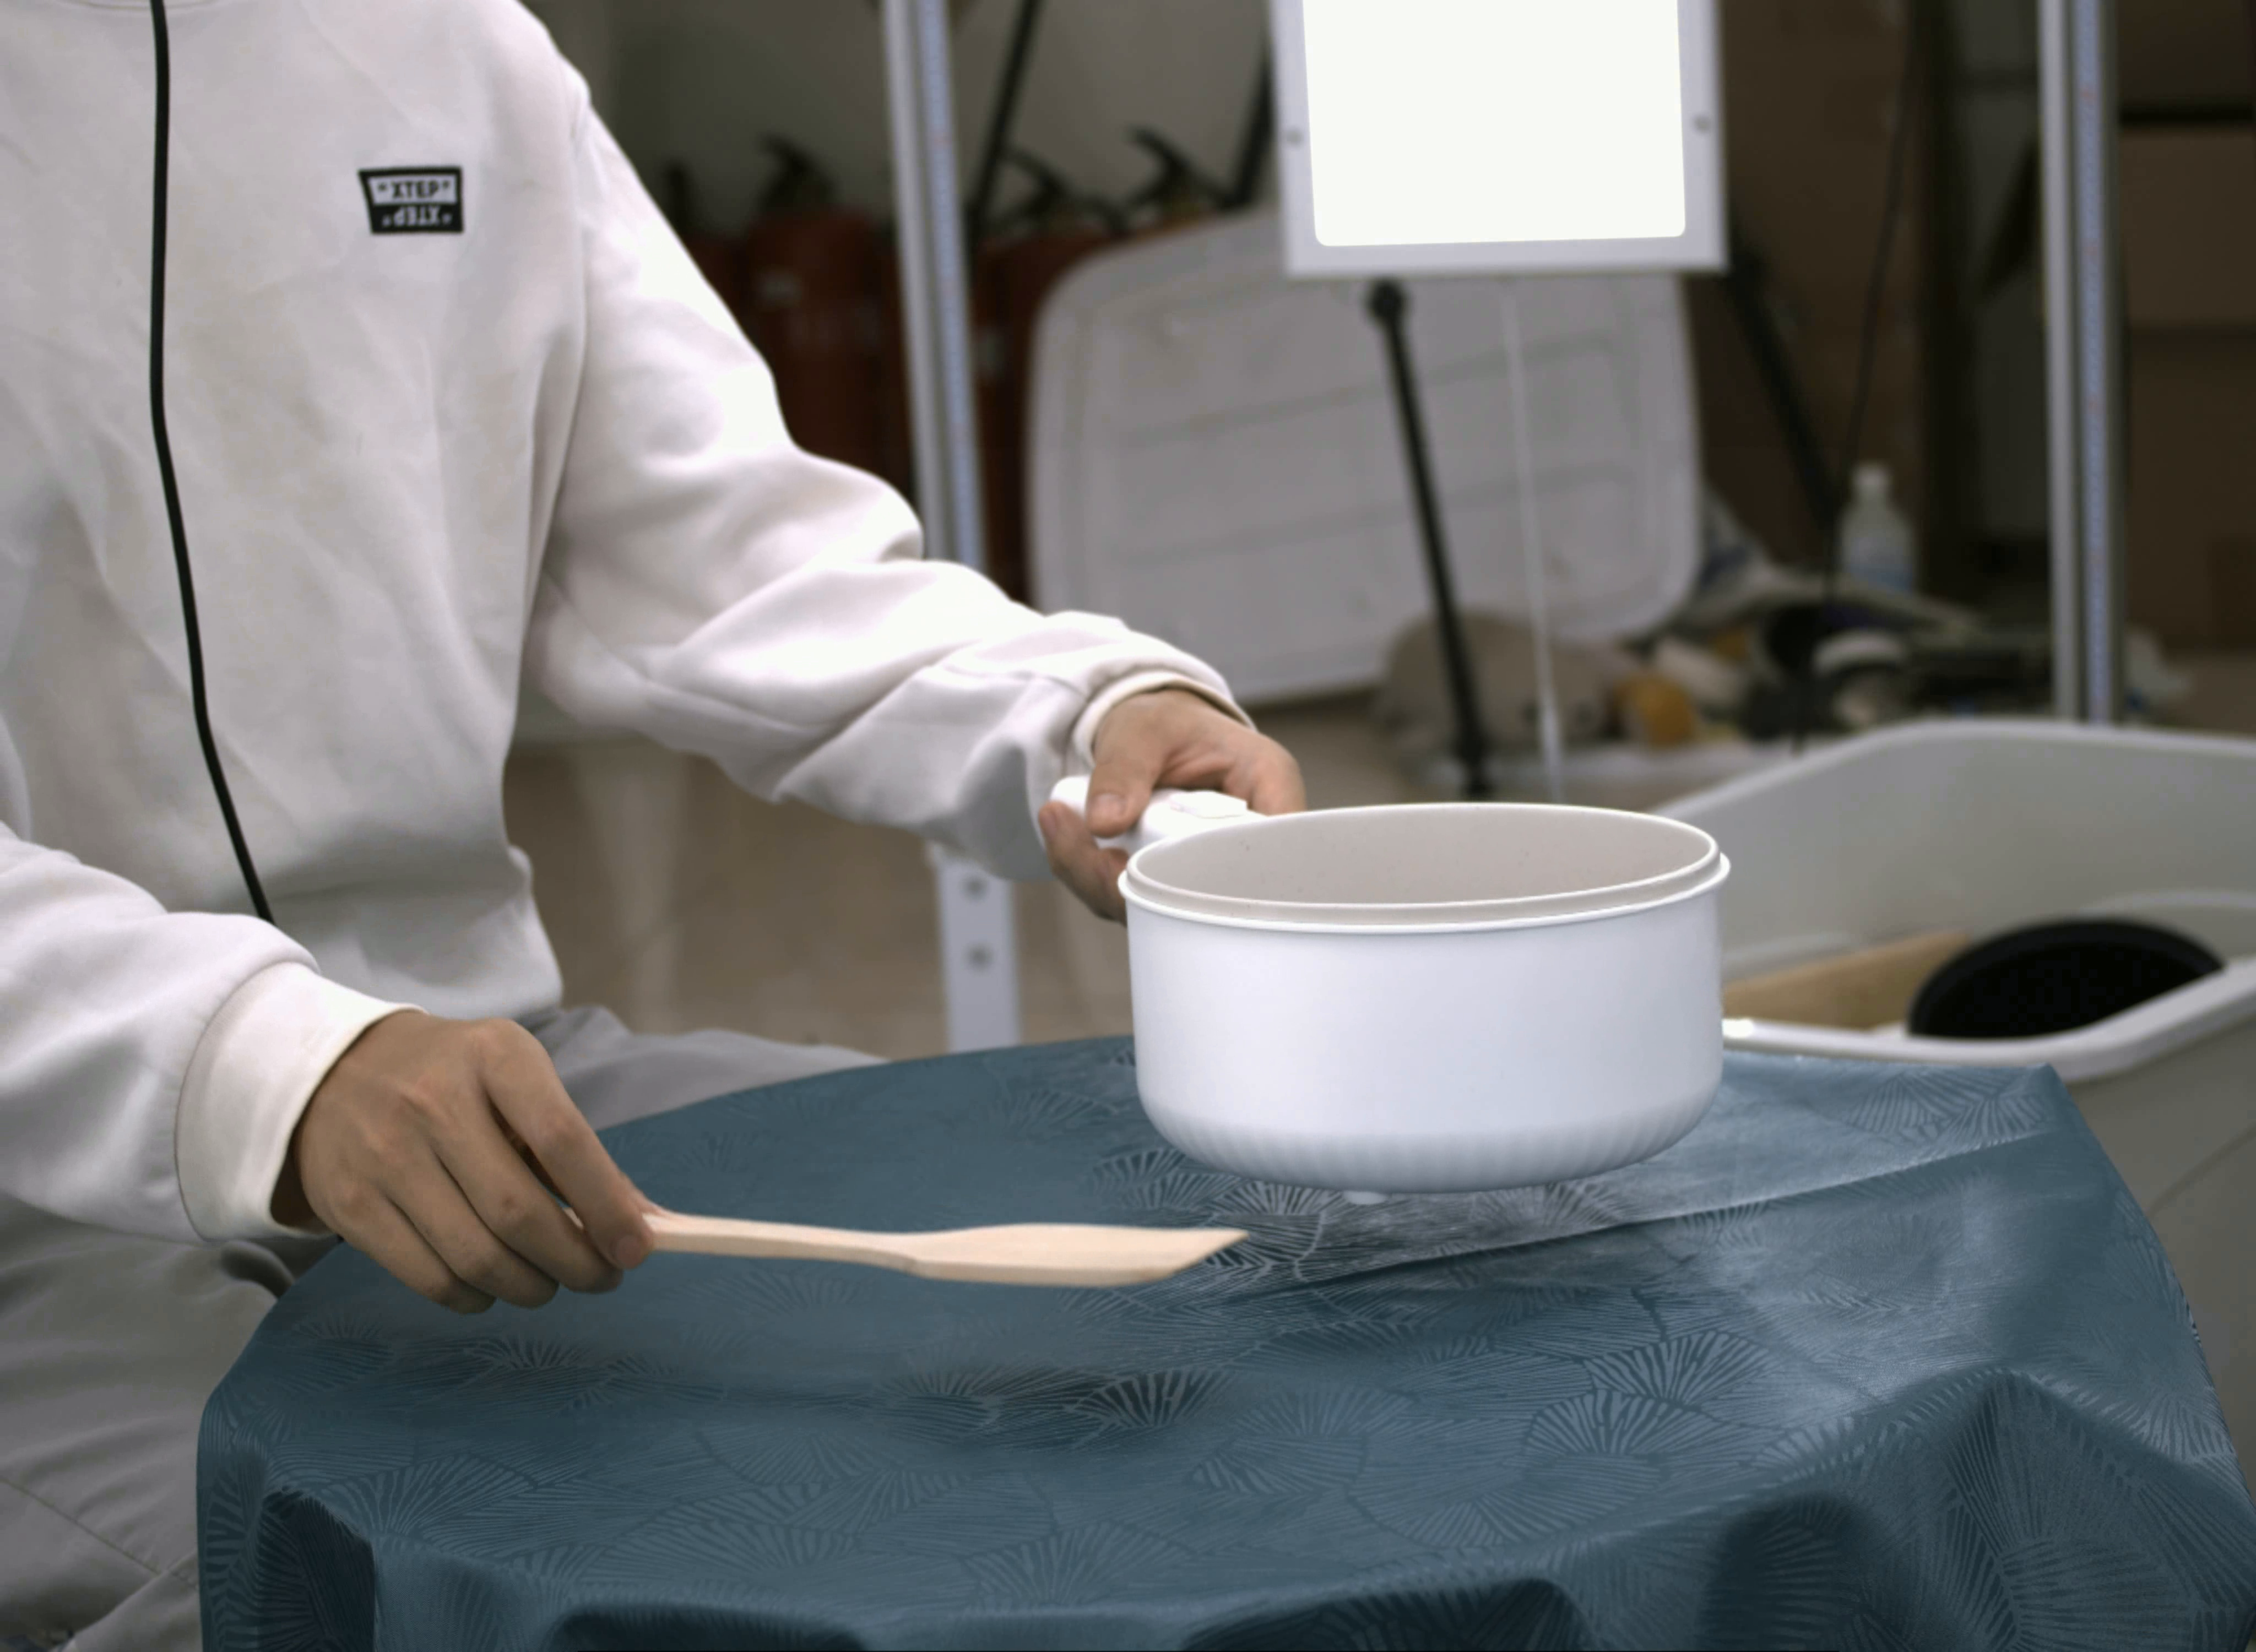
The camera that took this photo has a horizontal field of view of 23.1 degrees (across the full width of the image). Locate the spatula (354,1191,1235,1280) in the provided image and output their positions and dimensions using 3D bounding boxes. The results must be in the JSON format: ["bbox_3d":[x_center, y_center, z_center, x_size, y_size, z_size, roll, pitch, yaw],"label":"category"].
[{"bbox_3d":[-0.113,0.128,1.732,0.297,0.011,0.071,1,7,24],"label":"spatula"}]

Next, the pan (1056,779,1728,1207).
[{"bbox_3d":[0.066,0.050,1.879,0.197,0.102,0.360,-8,9,-24],"label":"pan"}]
